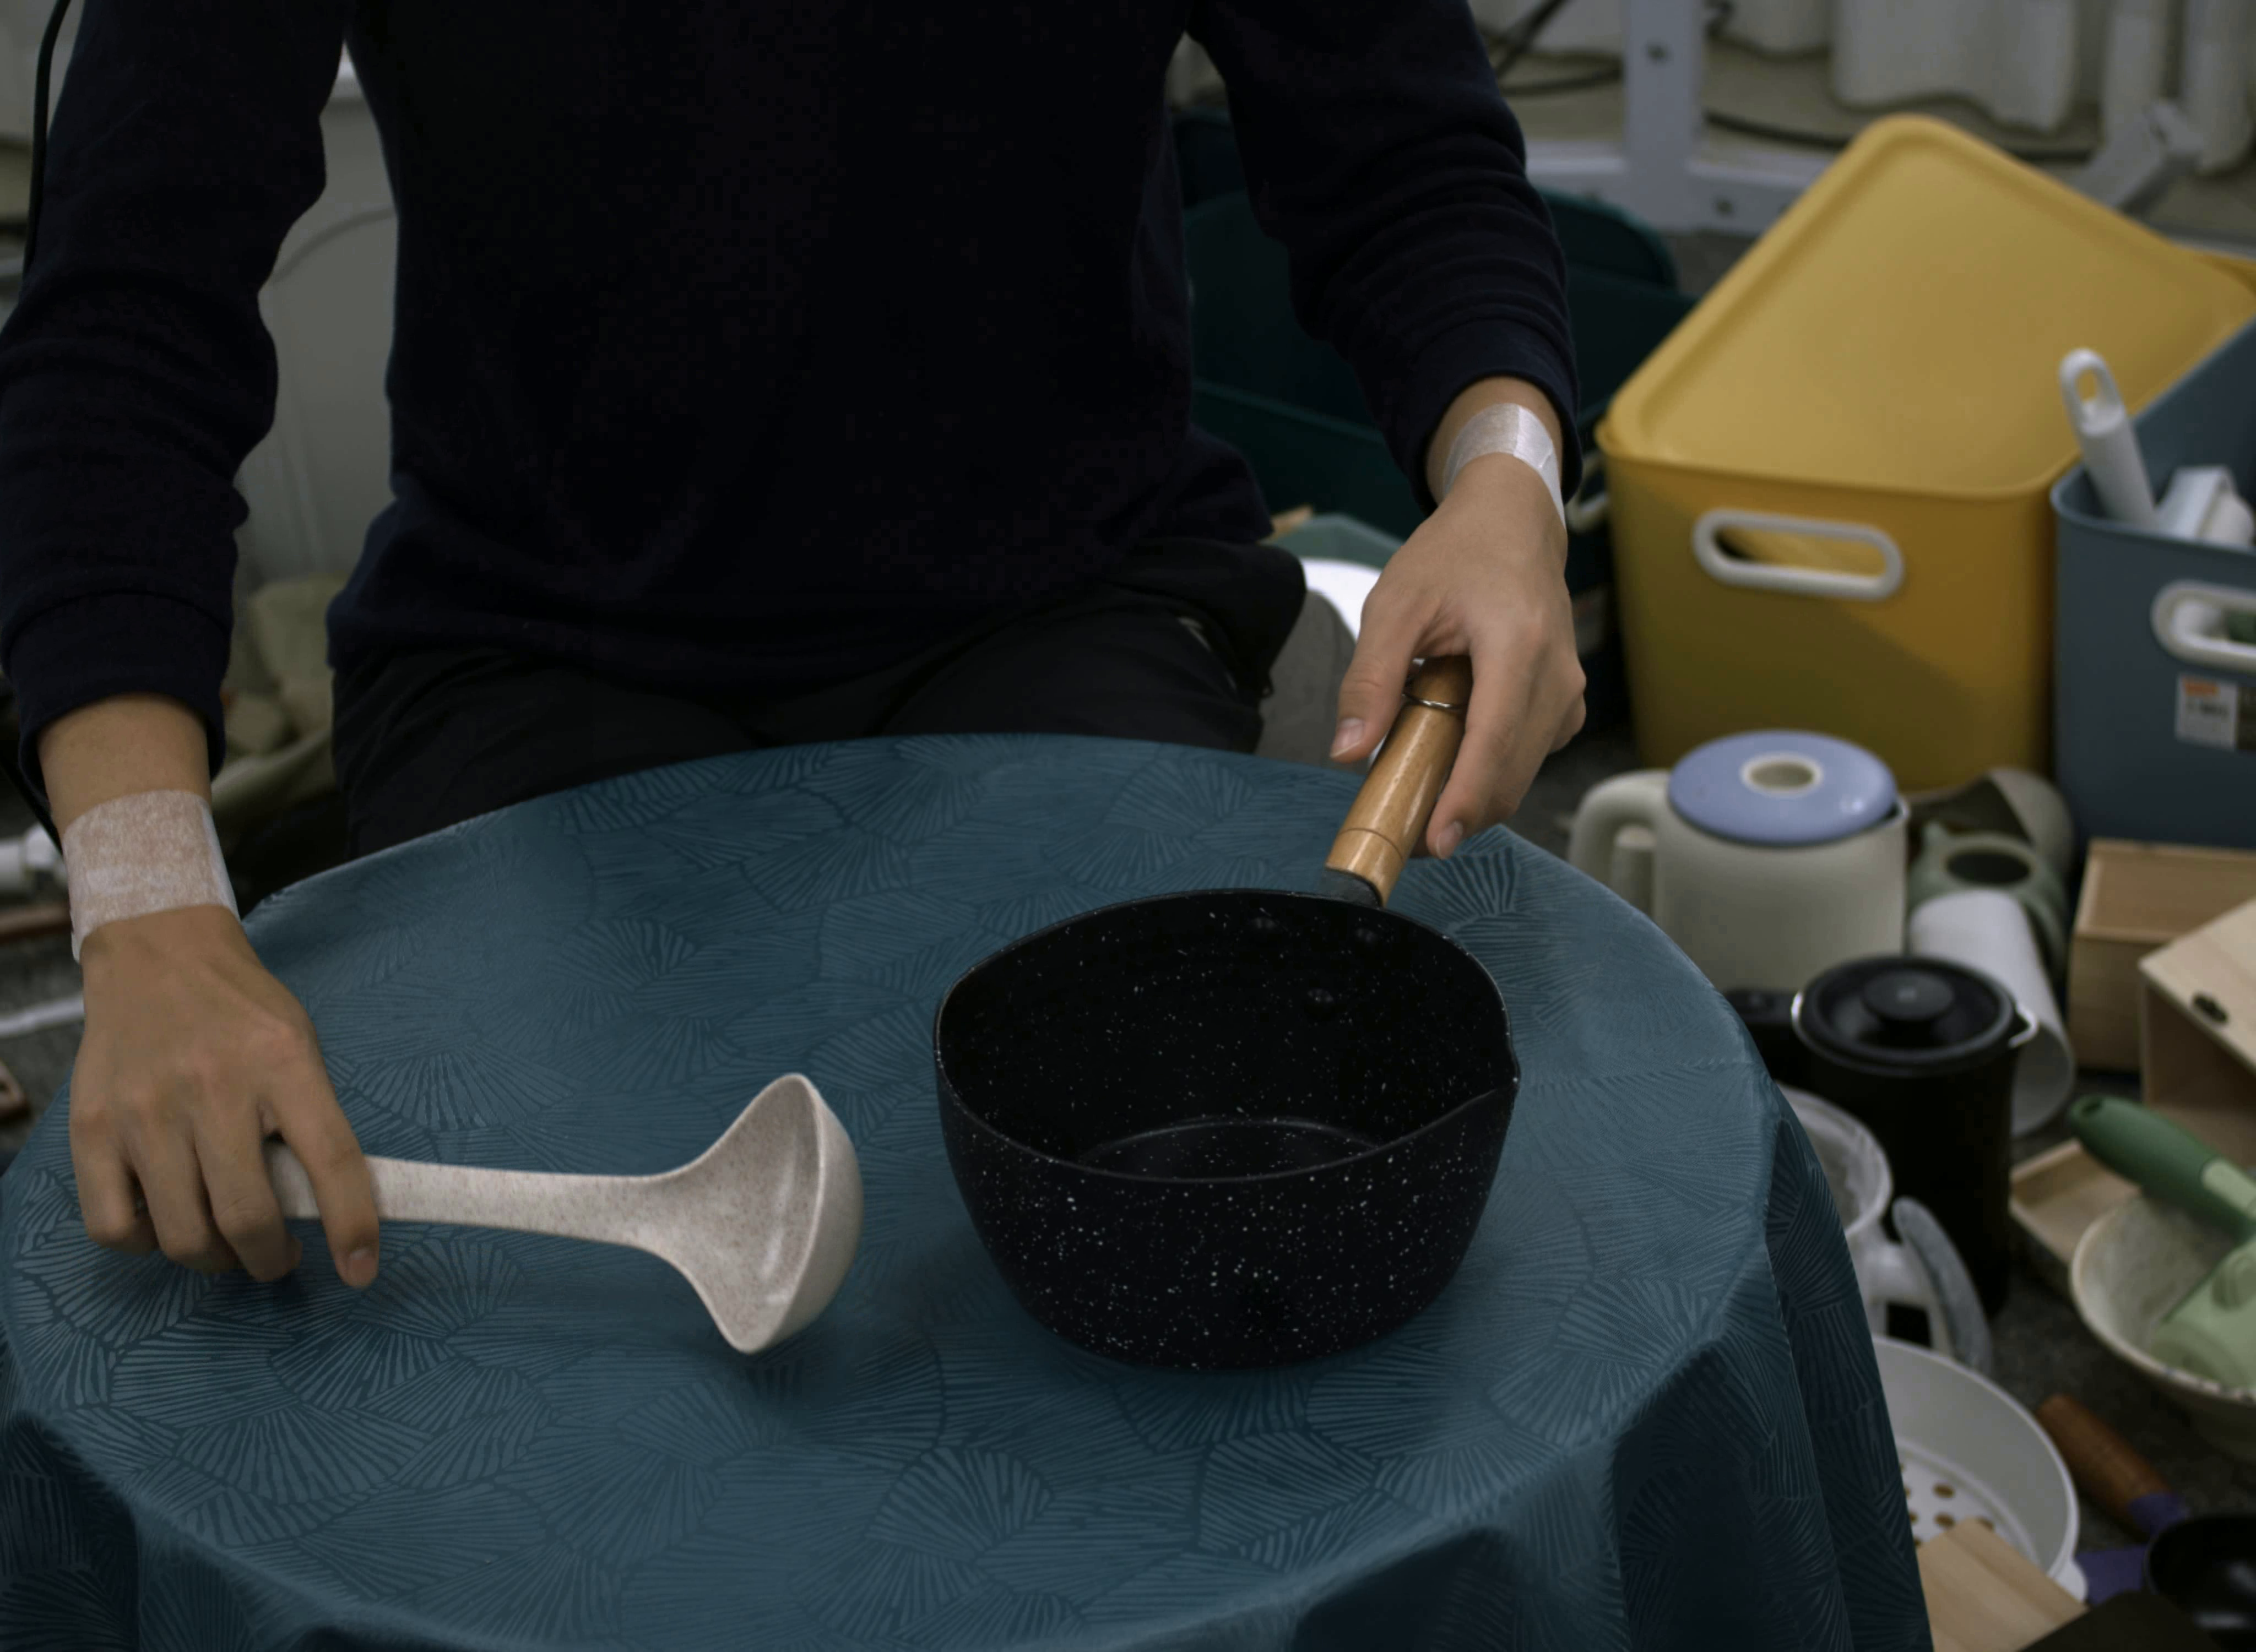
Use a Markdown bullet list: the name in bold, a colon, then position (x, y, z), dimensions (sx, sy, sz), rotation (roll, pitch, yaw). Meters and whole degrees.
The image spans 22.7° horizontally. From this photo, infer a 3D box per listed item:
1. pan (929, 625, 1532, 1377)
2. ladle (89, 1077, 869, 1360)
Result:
- **pan**: position (0.059, 0.054, 1.870), dimensions (0.206, 0.107, 0.349), rotation (6, 30, 20)
- **ladle**: position (-0.215, 0.119, 1.789), dimensions (0.273, 0.090, 0.069), rotation (3, -8, 12)
